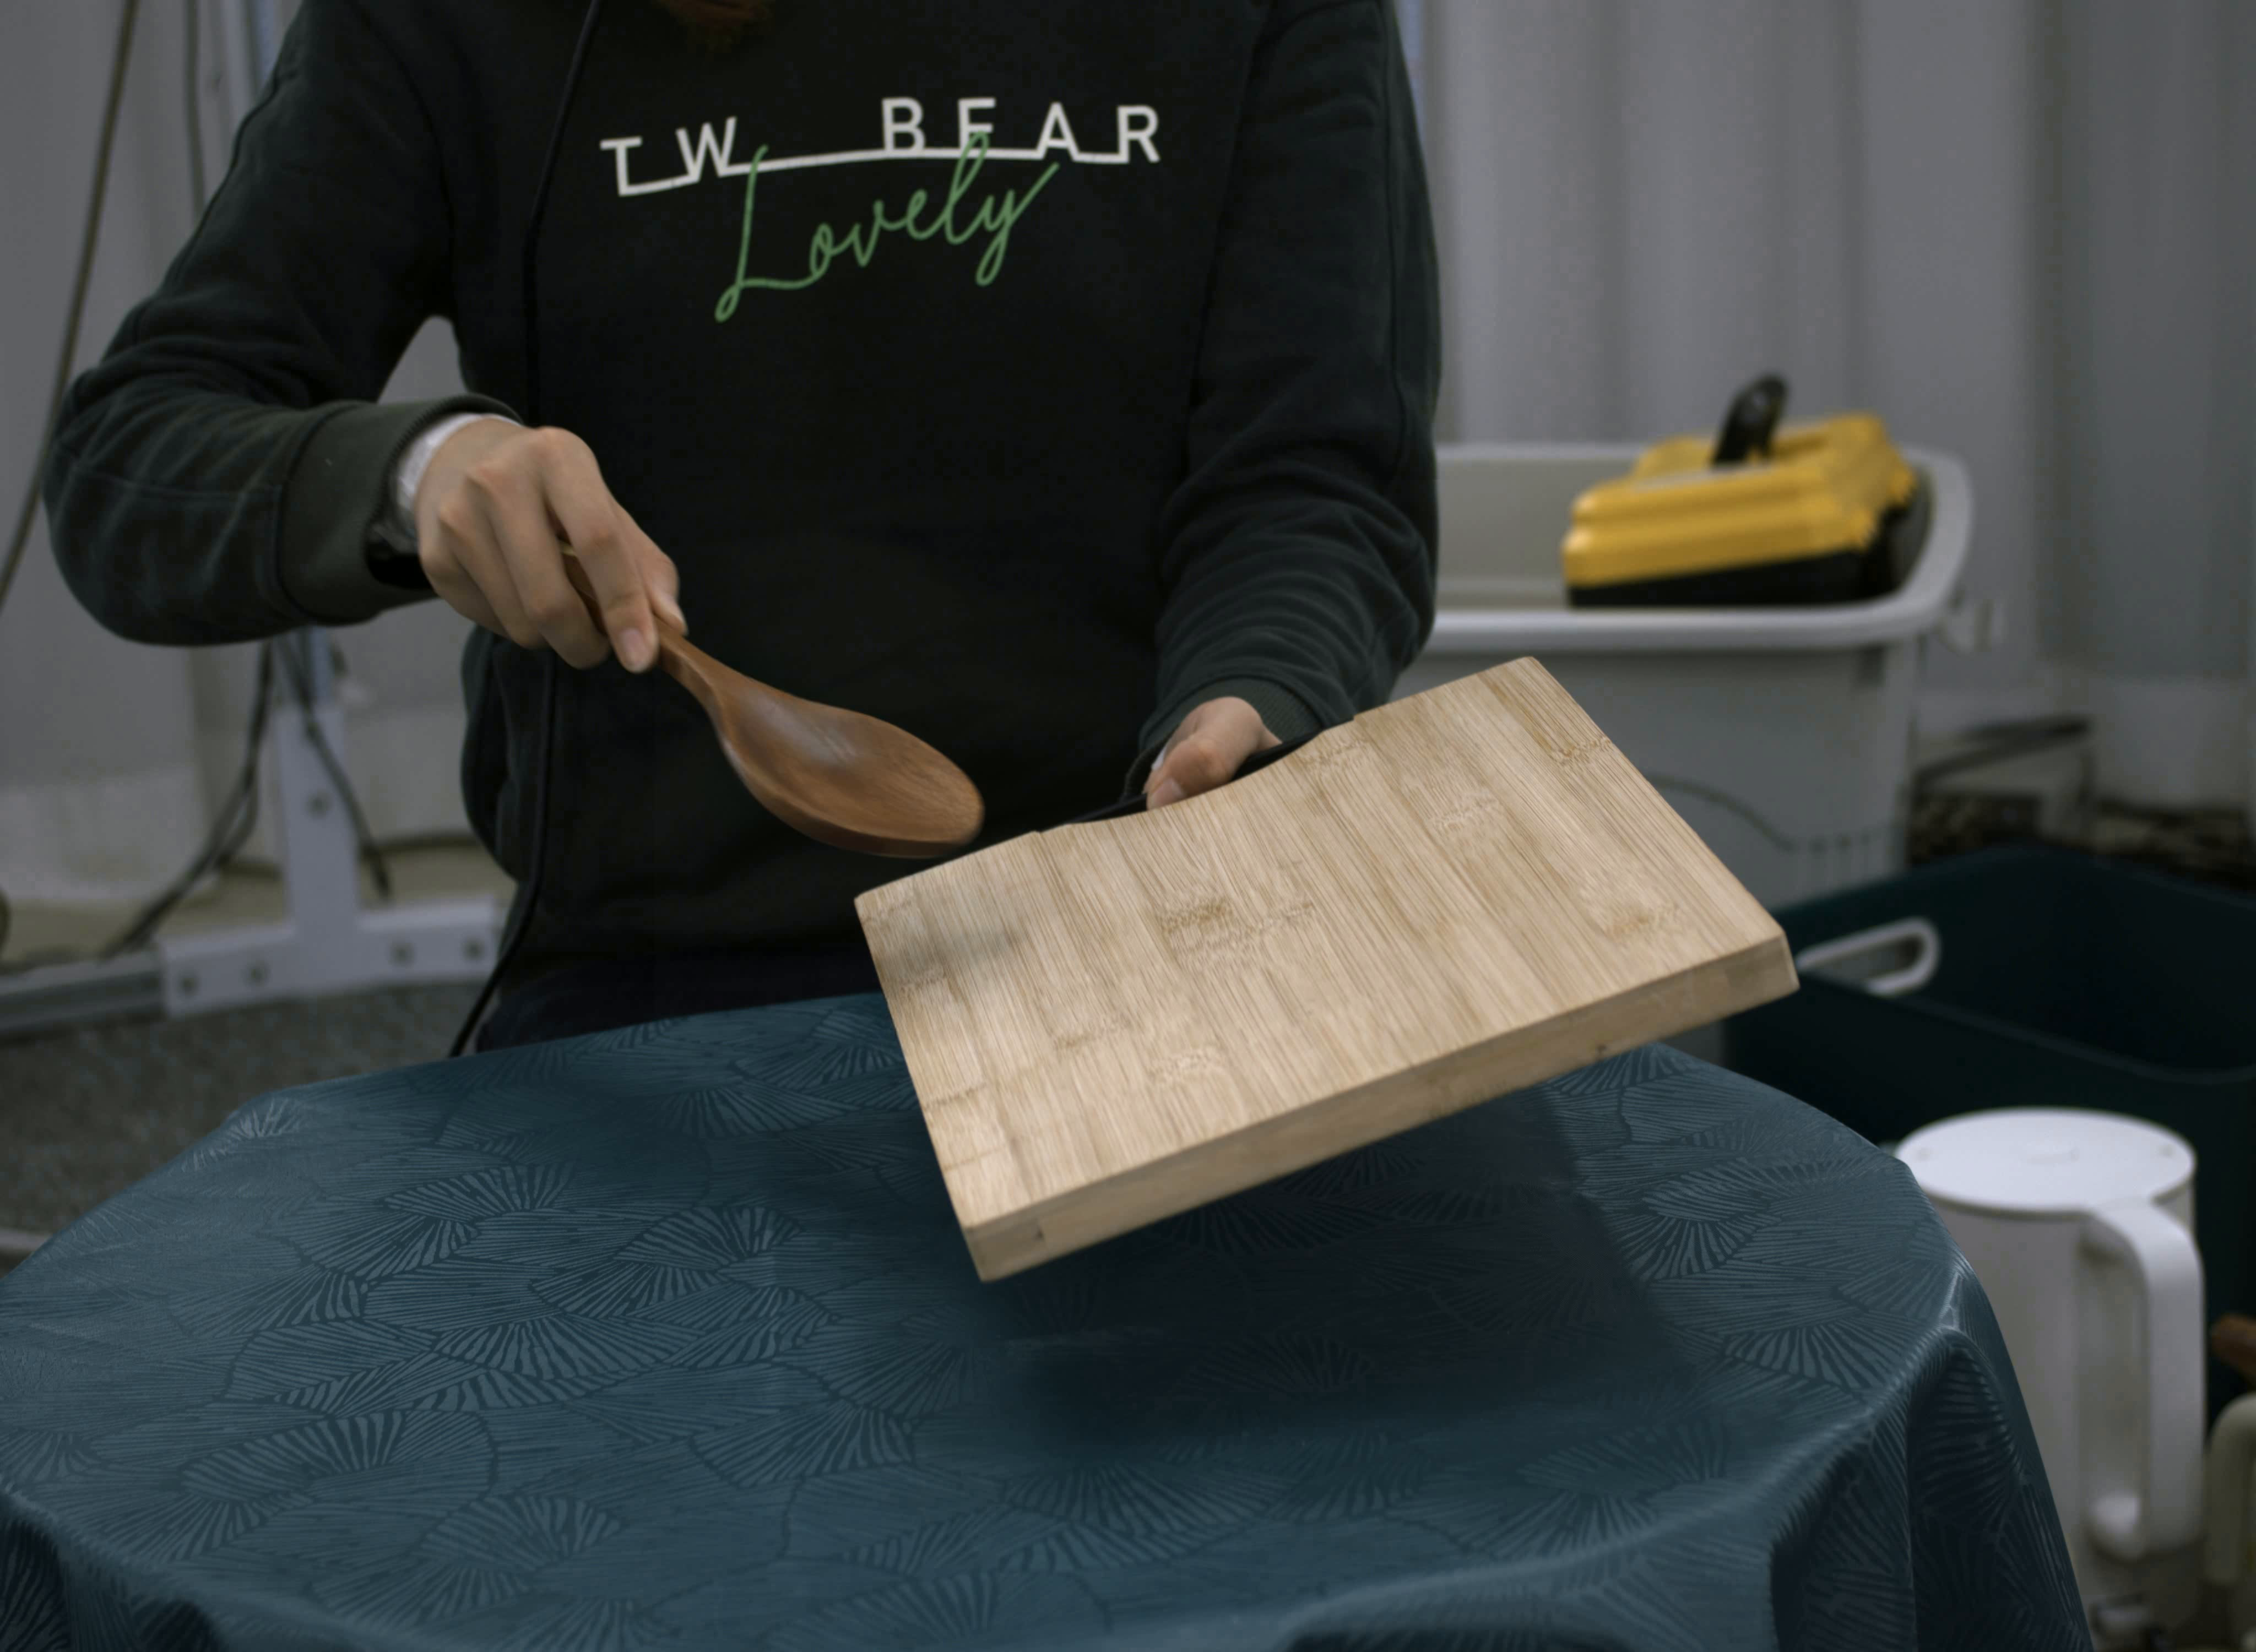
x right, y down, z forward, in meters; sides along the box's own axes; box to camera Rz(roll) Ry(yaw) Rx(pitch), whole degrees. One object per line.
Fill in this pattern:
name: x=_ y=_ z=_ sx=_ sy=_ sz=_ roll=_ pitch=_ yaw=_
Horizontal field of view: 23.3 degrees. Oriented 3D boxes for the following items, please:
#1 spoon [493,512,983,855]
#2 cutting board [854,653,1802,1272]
spoon: x=-0.130 y=-0.045 z=1.745 sx=0.075 sy=0.017 sz=0.218 roll=-16 pitch=41 yaw=-43
cutting board: x=0.047 y=0.034 z=1.655 sx=0.250 sy=0.023 sz=0.351 roll=-19 pitch=17 yaw=-4
